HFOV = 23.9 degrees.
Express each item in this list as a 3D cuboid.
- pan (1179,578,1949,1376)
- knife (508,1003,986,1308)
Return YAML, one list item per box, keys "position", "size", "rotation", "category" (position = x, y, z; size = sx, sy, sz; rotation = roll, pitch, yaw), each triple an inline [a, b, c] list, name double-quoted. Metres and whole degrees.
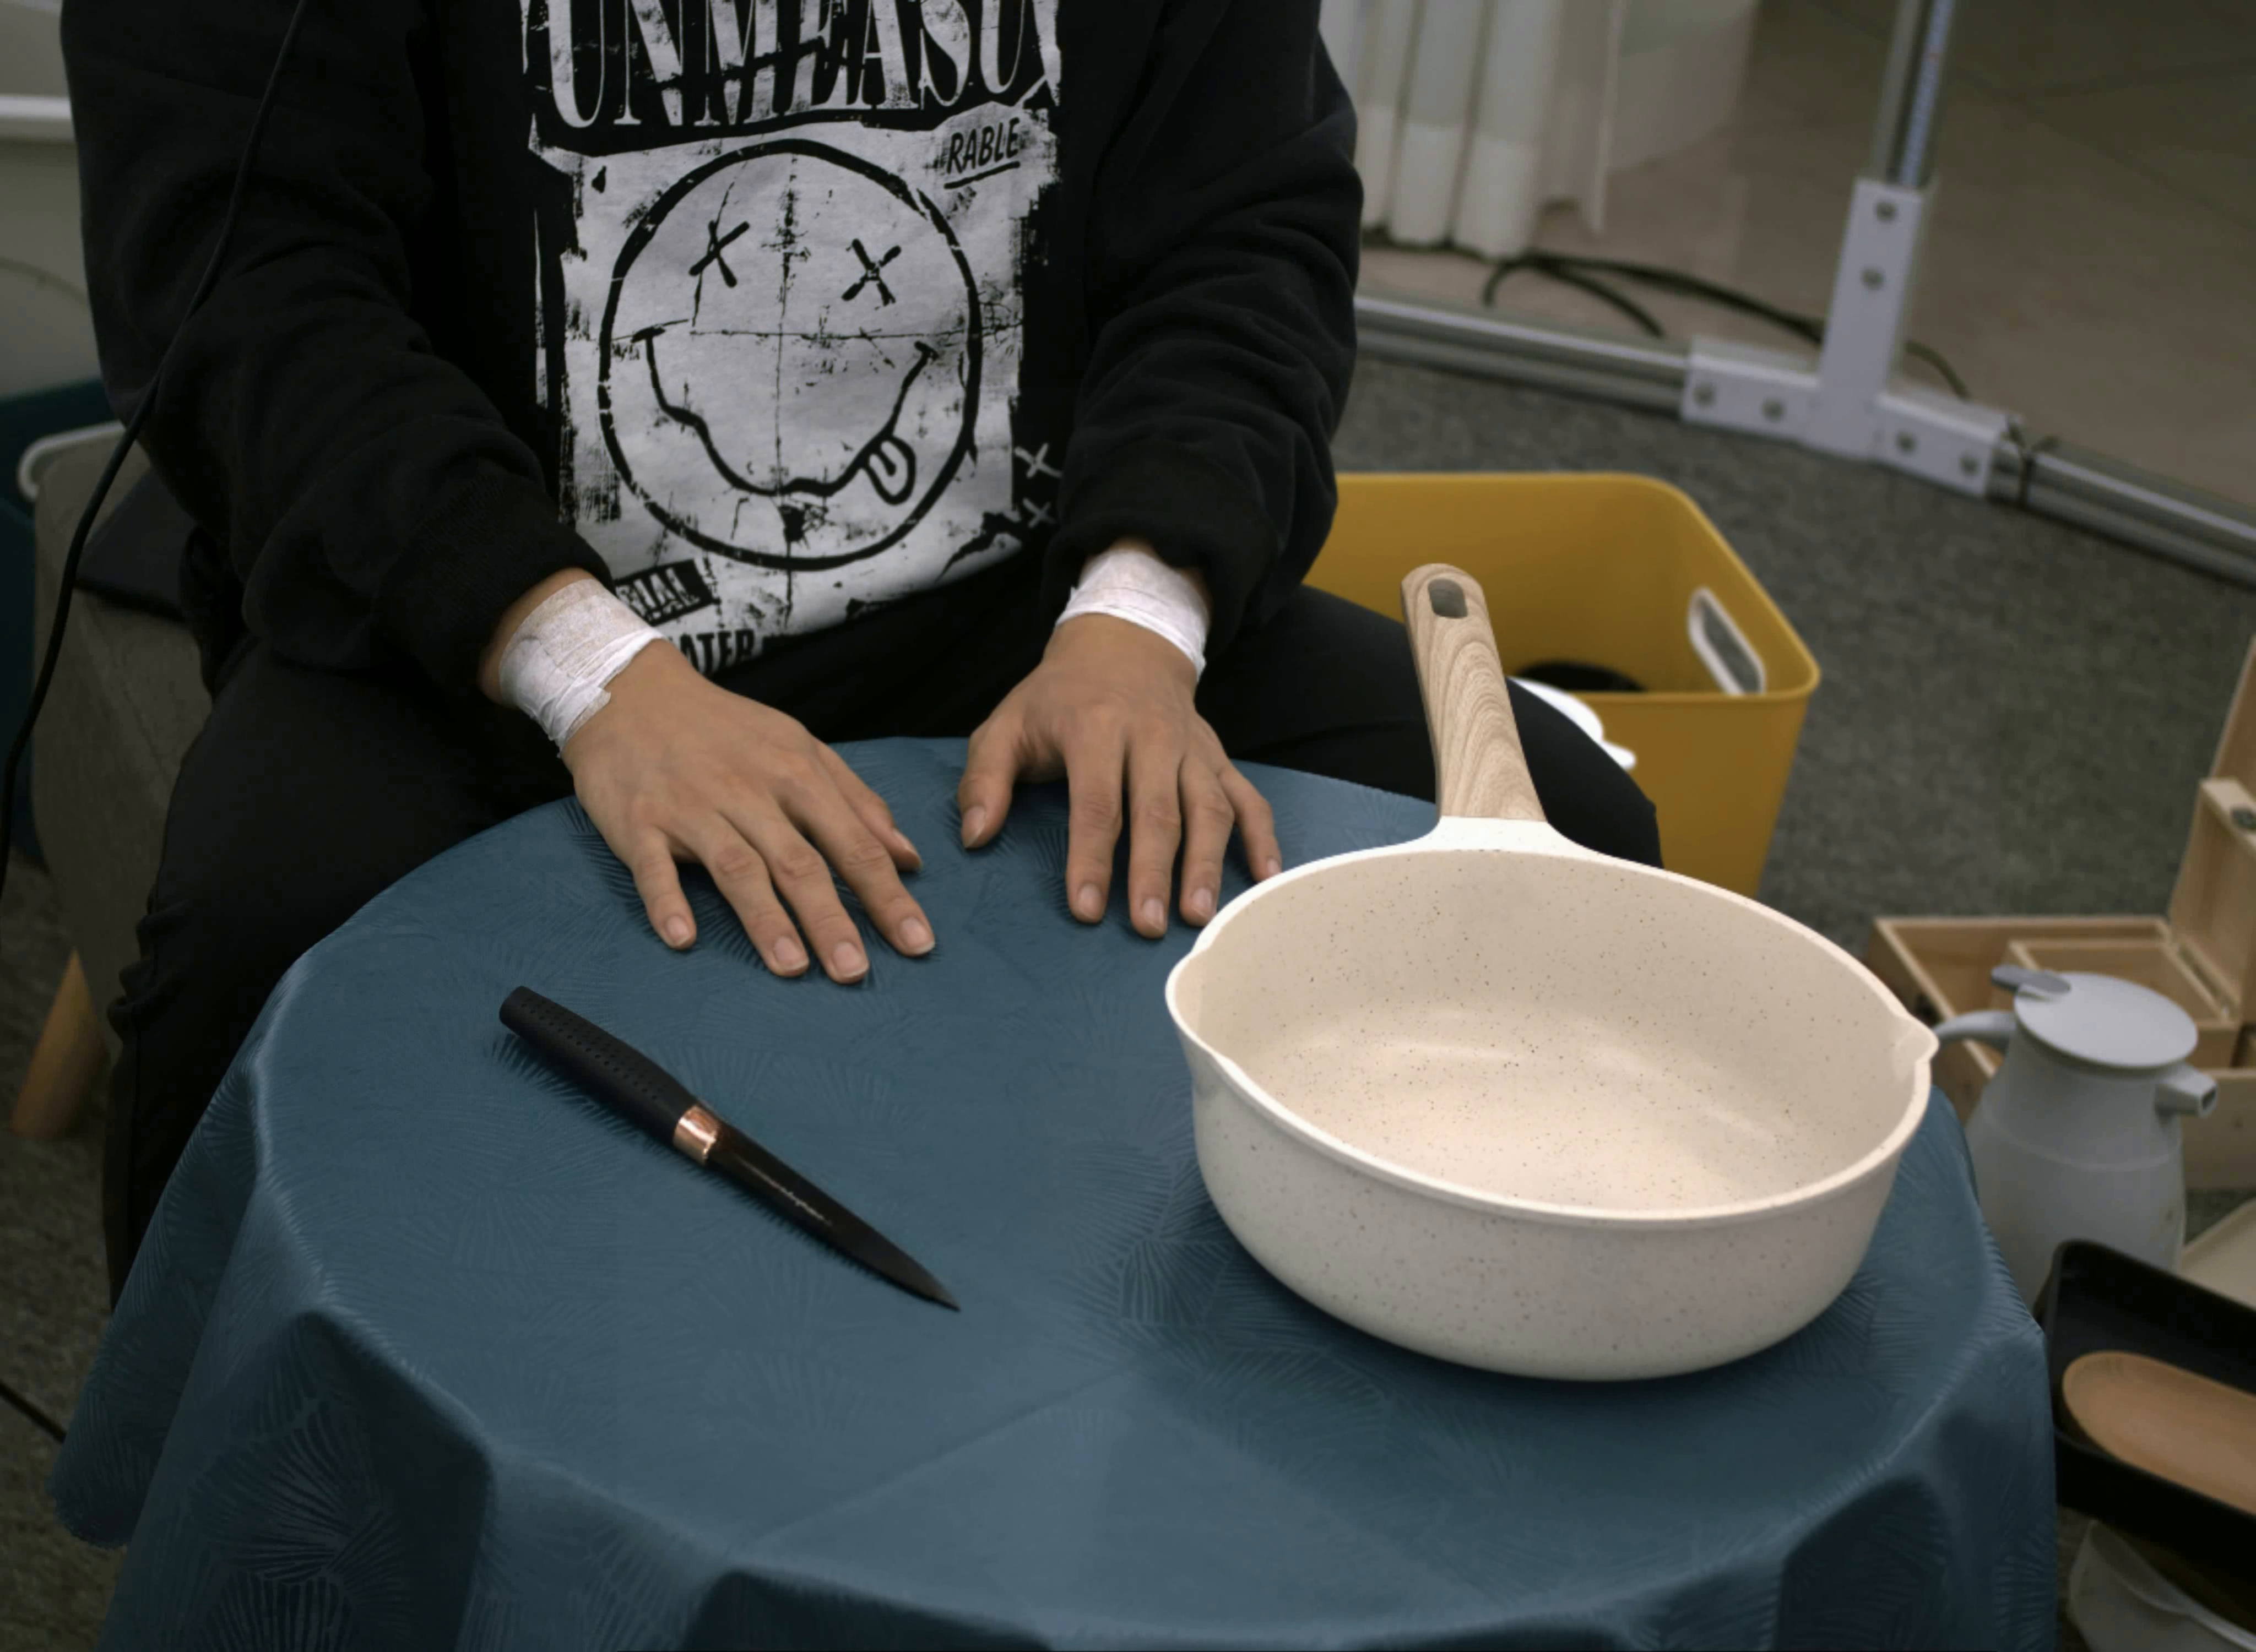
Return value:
- position: [0.135, 0.050, 1.872]
  size: [0.262, 0.101, 0.438]
  rotation: [1, 27, -7]
  category: "pan"
- position: [-0.131, 0.111, 1.792]
  size: [0.227, 0.017, 0.026]
  rotation: [29, 18, 36]
  category: "knife"
